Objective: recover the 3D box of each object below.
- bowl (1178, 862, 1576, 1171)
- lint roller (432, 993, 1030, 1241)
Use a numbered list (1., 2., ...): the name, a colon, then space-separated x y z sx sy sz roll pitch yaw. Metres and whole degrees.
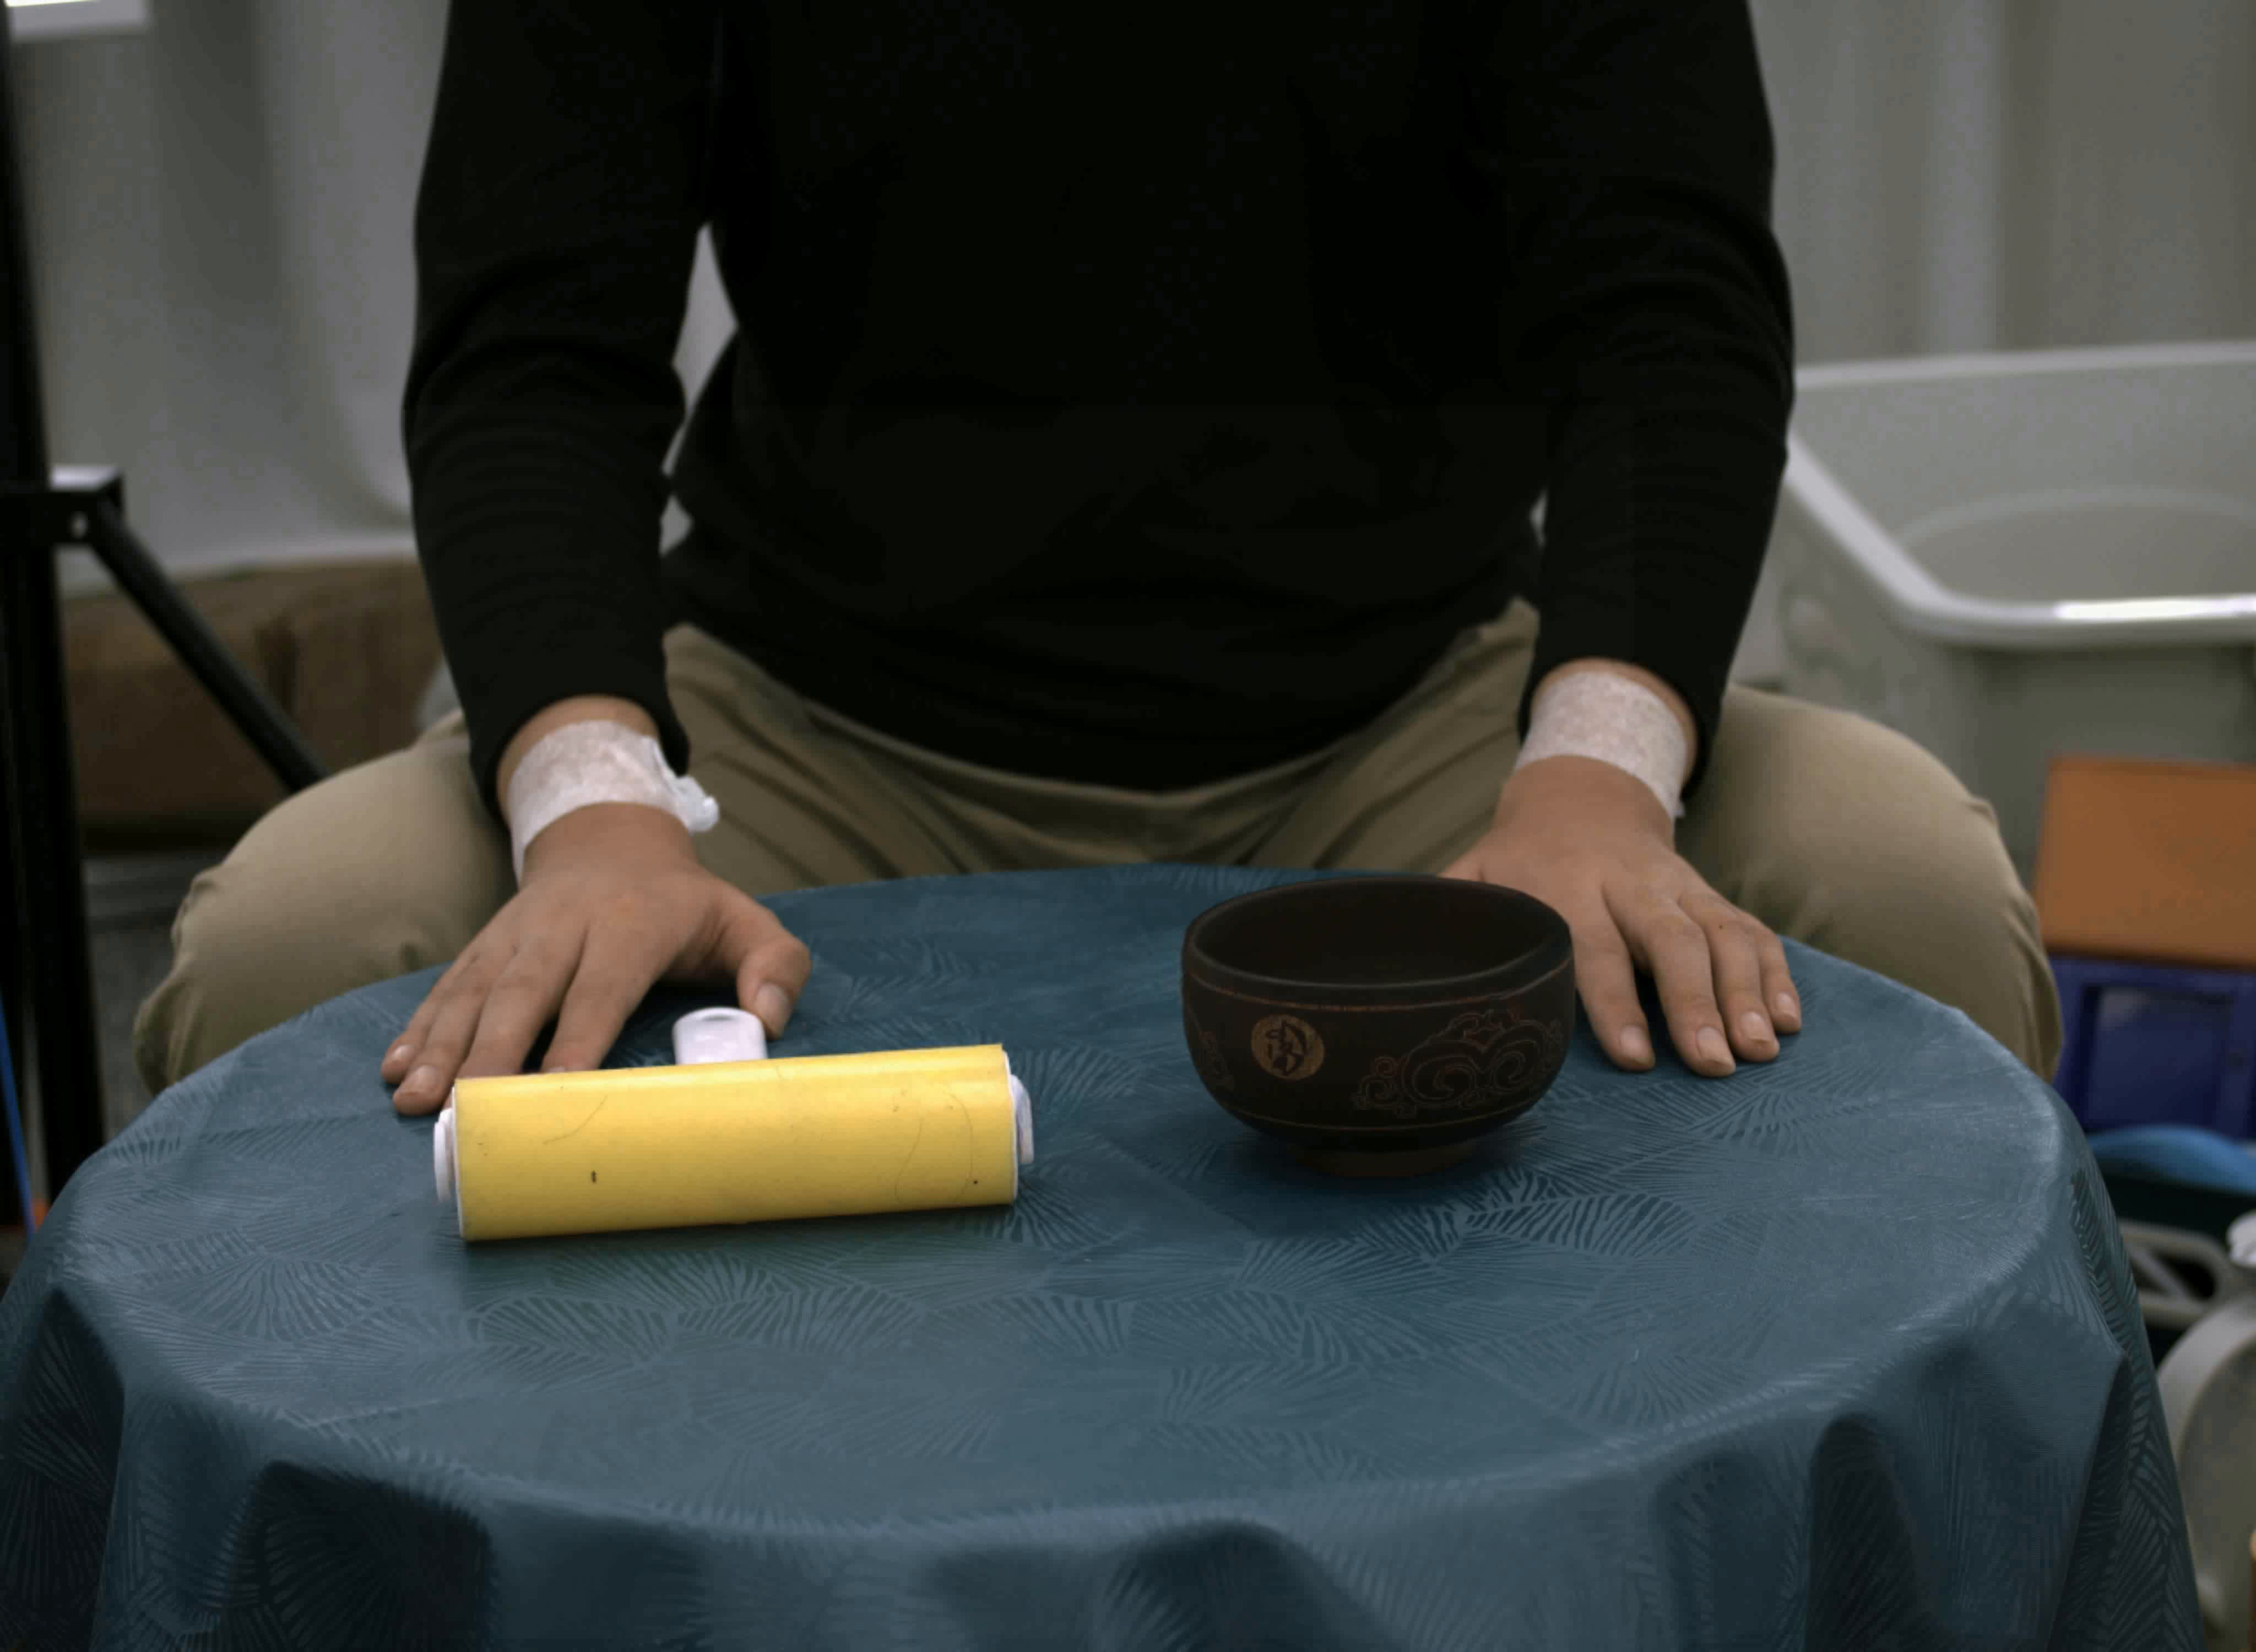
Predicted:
1. bowl: 0.074 0.061 1.576 0.117 0.070 0.118 -2 16 -1
2. lint roller: -0.125 0.071 1.615 0.172 0.051 0.194 -4 20 -6
